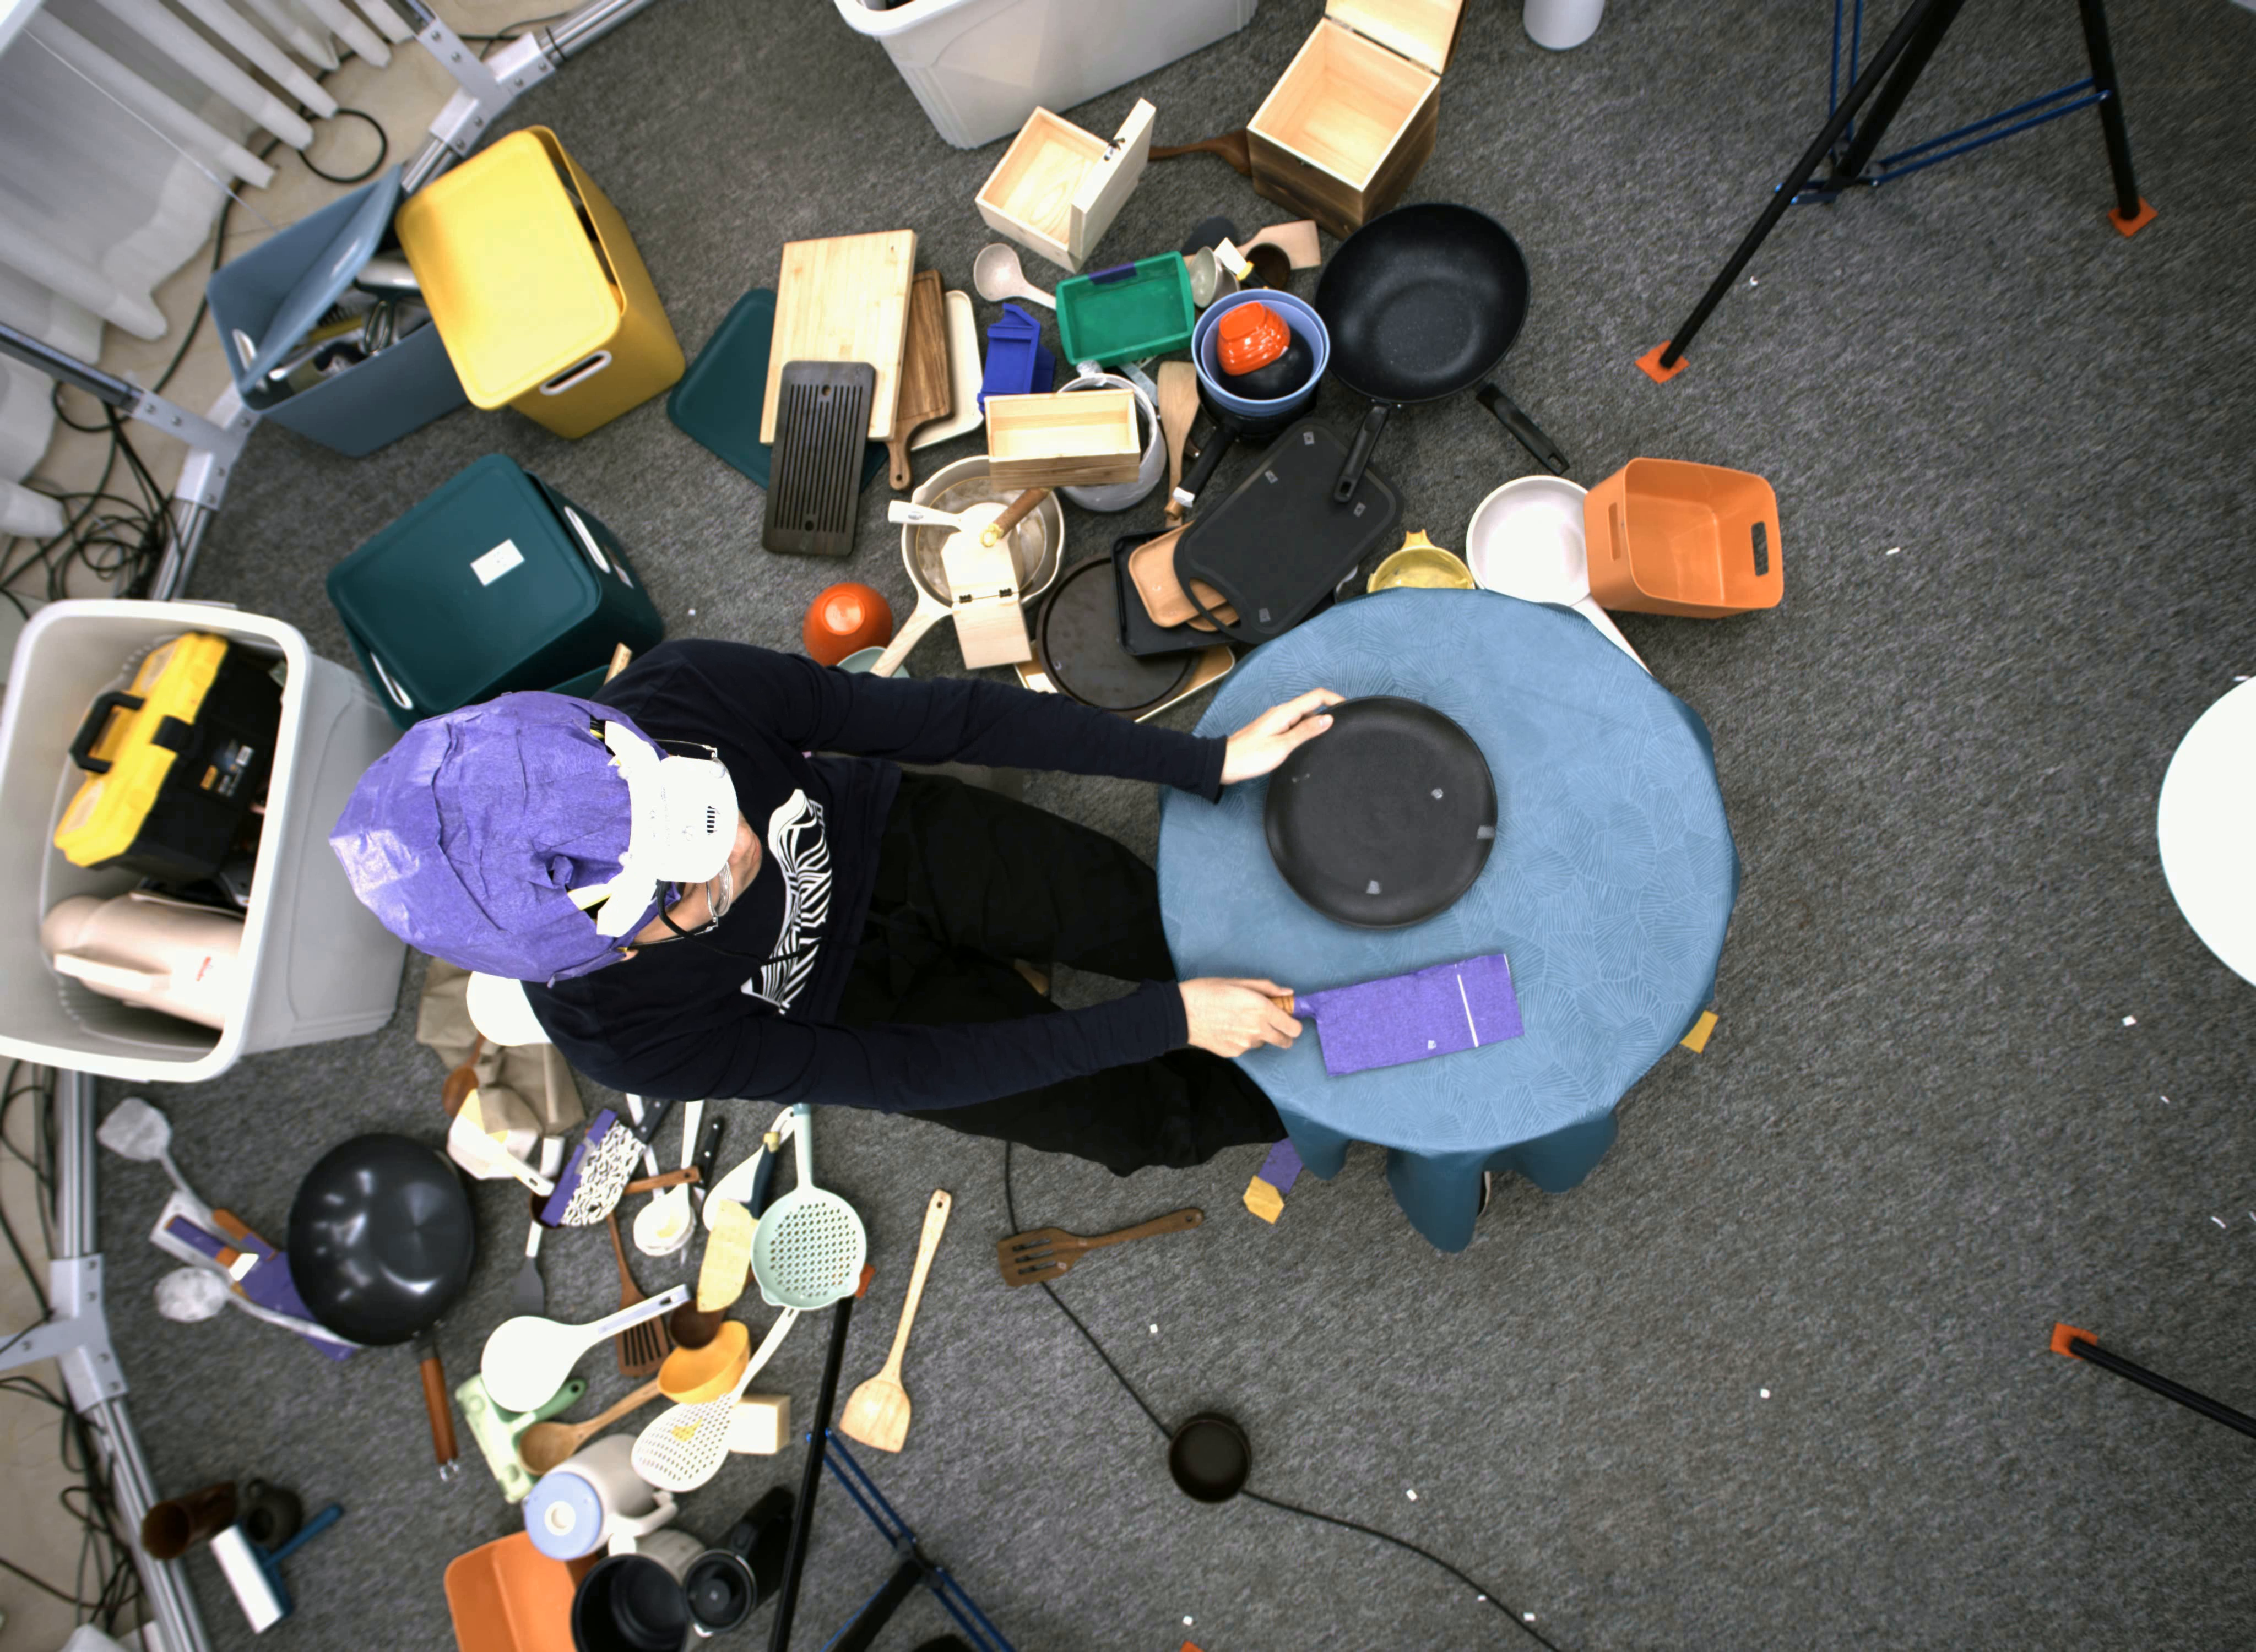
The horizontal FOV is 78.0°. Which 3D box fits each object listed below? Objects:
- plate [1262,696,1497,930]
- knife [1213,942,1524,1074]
[{"bbox_3d":[0.261,-0.015,1.436,0.245,0.023,0.245,0,97,4],"label":"plate"},{"bbox_3d":[0.250,0.203,1.436,0.317,0.032,0.104,-14,90,8],"label":"knife"}]
